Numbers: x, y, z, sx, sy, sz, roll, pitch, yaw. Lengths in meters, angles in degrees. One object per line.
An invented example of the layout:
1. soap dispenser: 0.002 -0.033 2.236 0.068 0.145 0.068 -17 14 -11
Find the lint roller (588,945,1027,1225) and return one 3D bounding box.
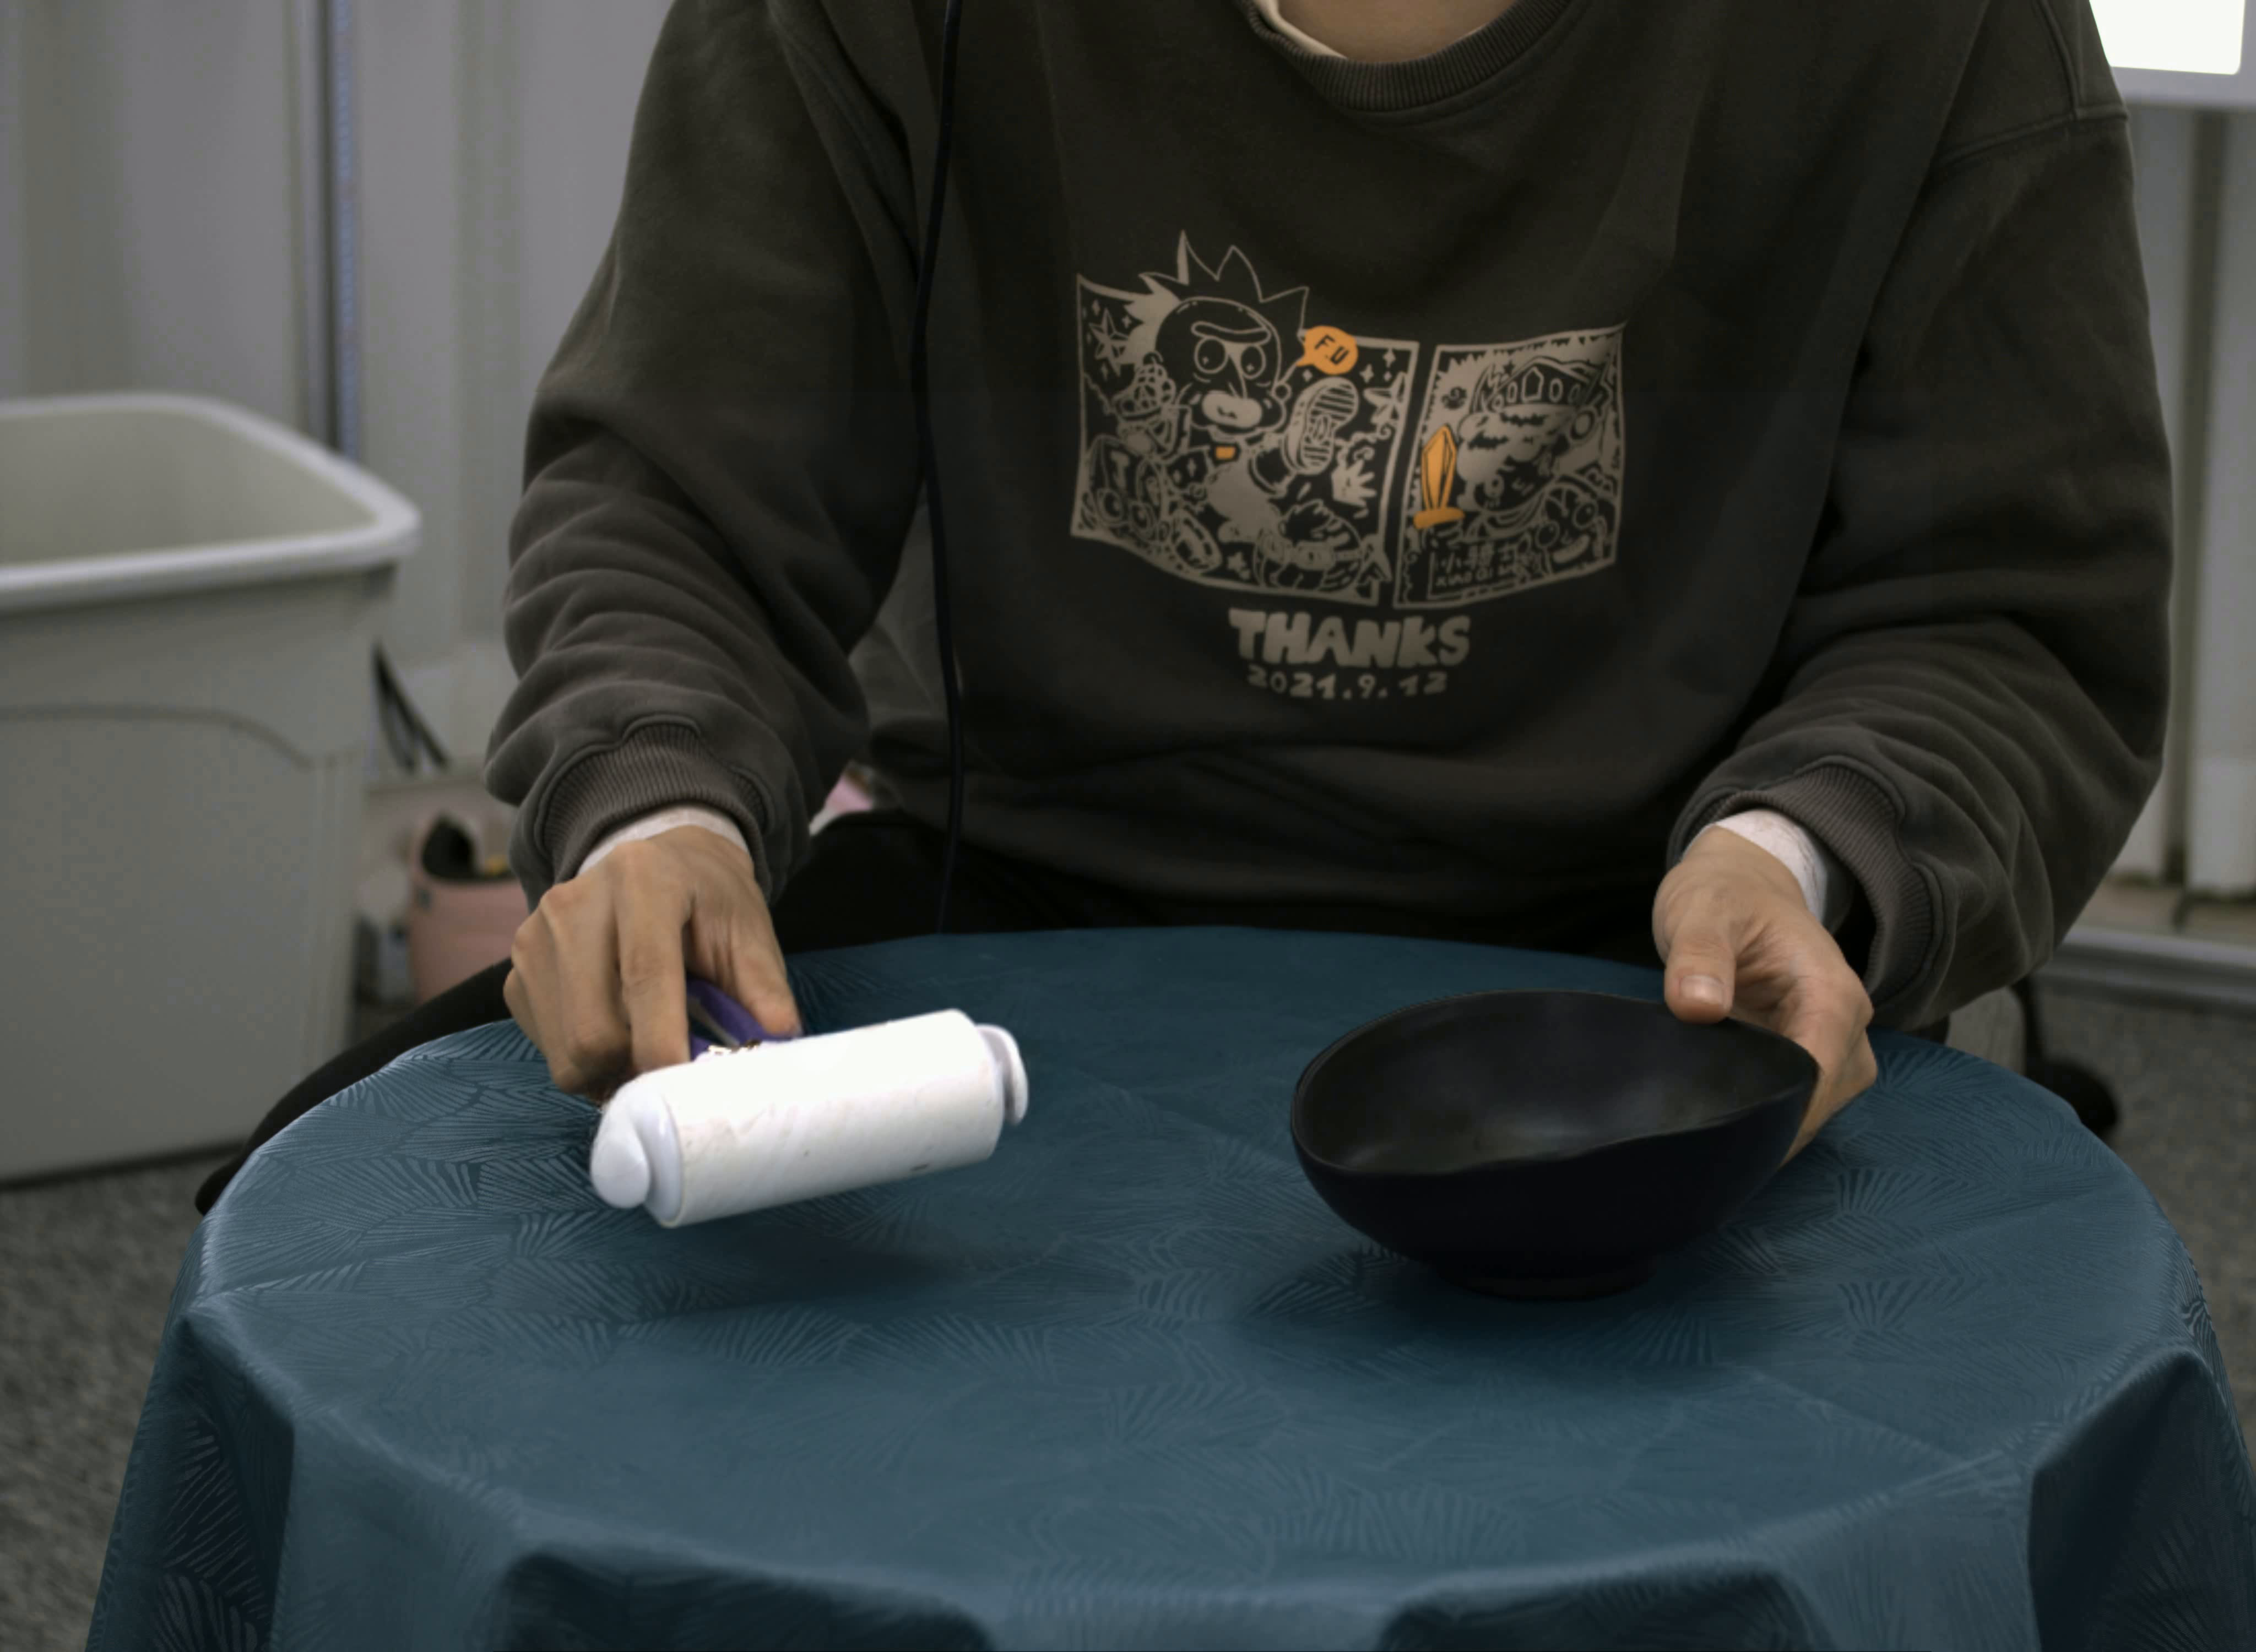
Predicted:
1. lint roller: -0.119 0.059 1.587 0.133 0.051 0.178 -10 28 -23

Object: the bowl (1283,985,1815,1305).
1. bowl: 0.126 0.100 1.562 0.171 0.067 0.135 -14 20 -37
